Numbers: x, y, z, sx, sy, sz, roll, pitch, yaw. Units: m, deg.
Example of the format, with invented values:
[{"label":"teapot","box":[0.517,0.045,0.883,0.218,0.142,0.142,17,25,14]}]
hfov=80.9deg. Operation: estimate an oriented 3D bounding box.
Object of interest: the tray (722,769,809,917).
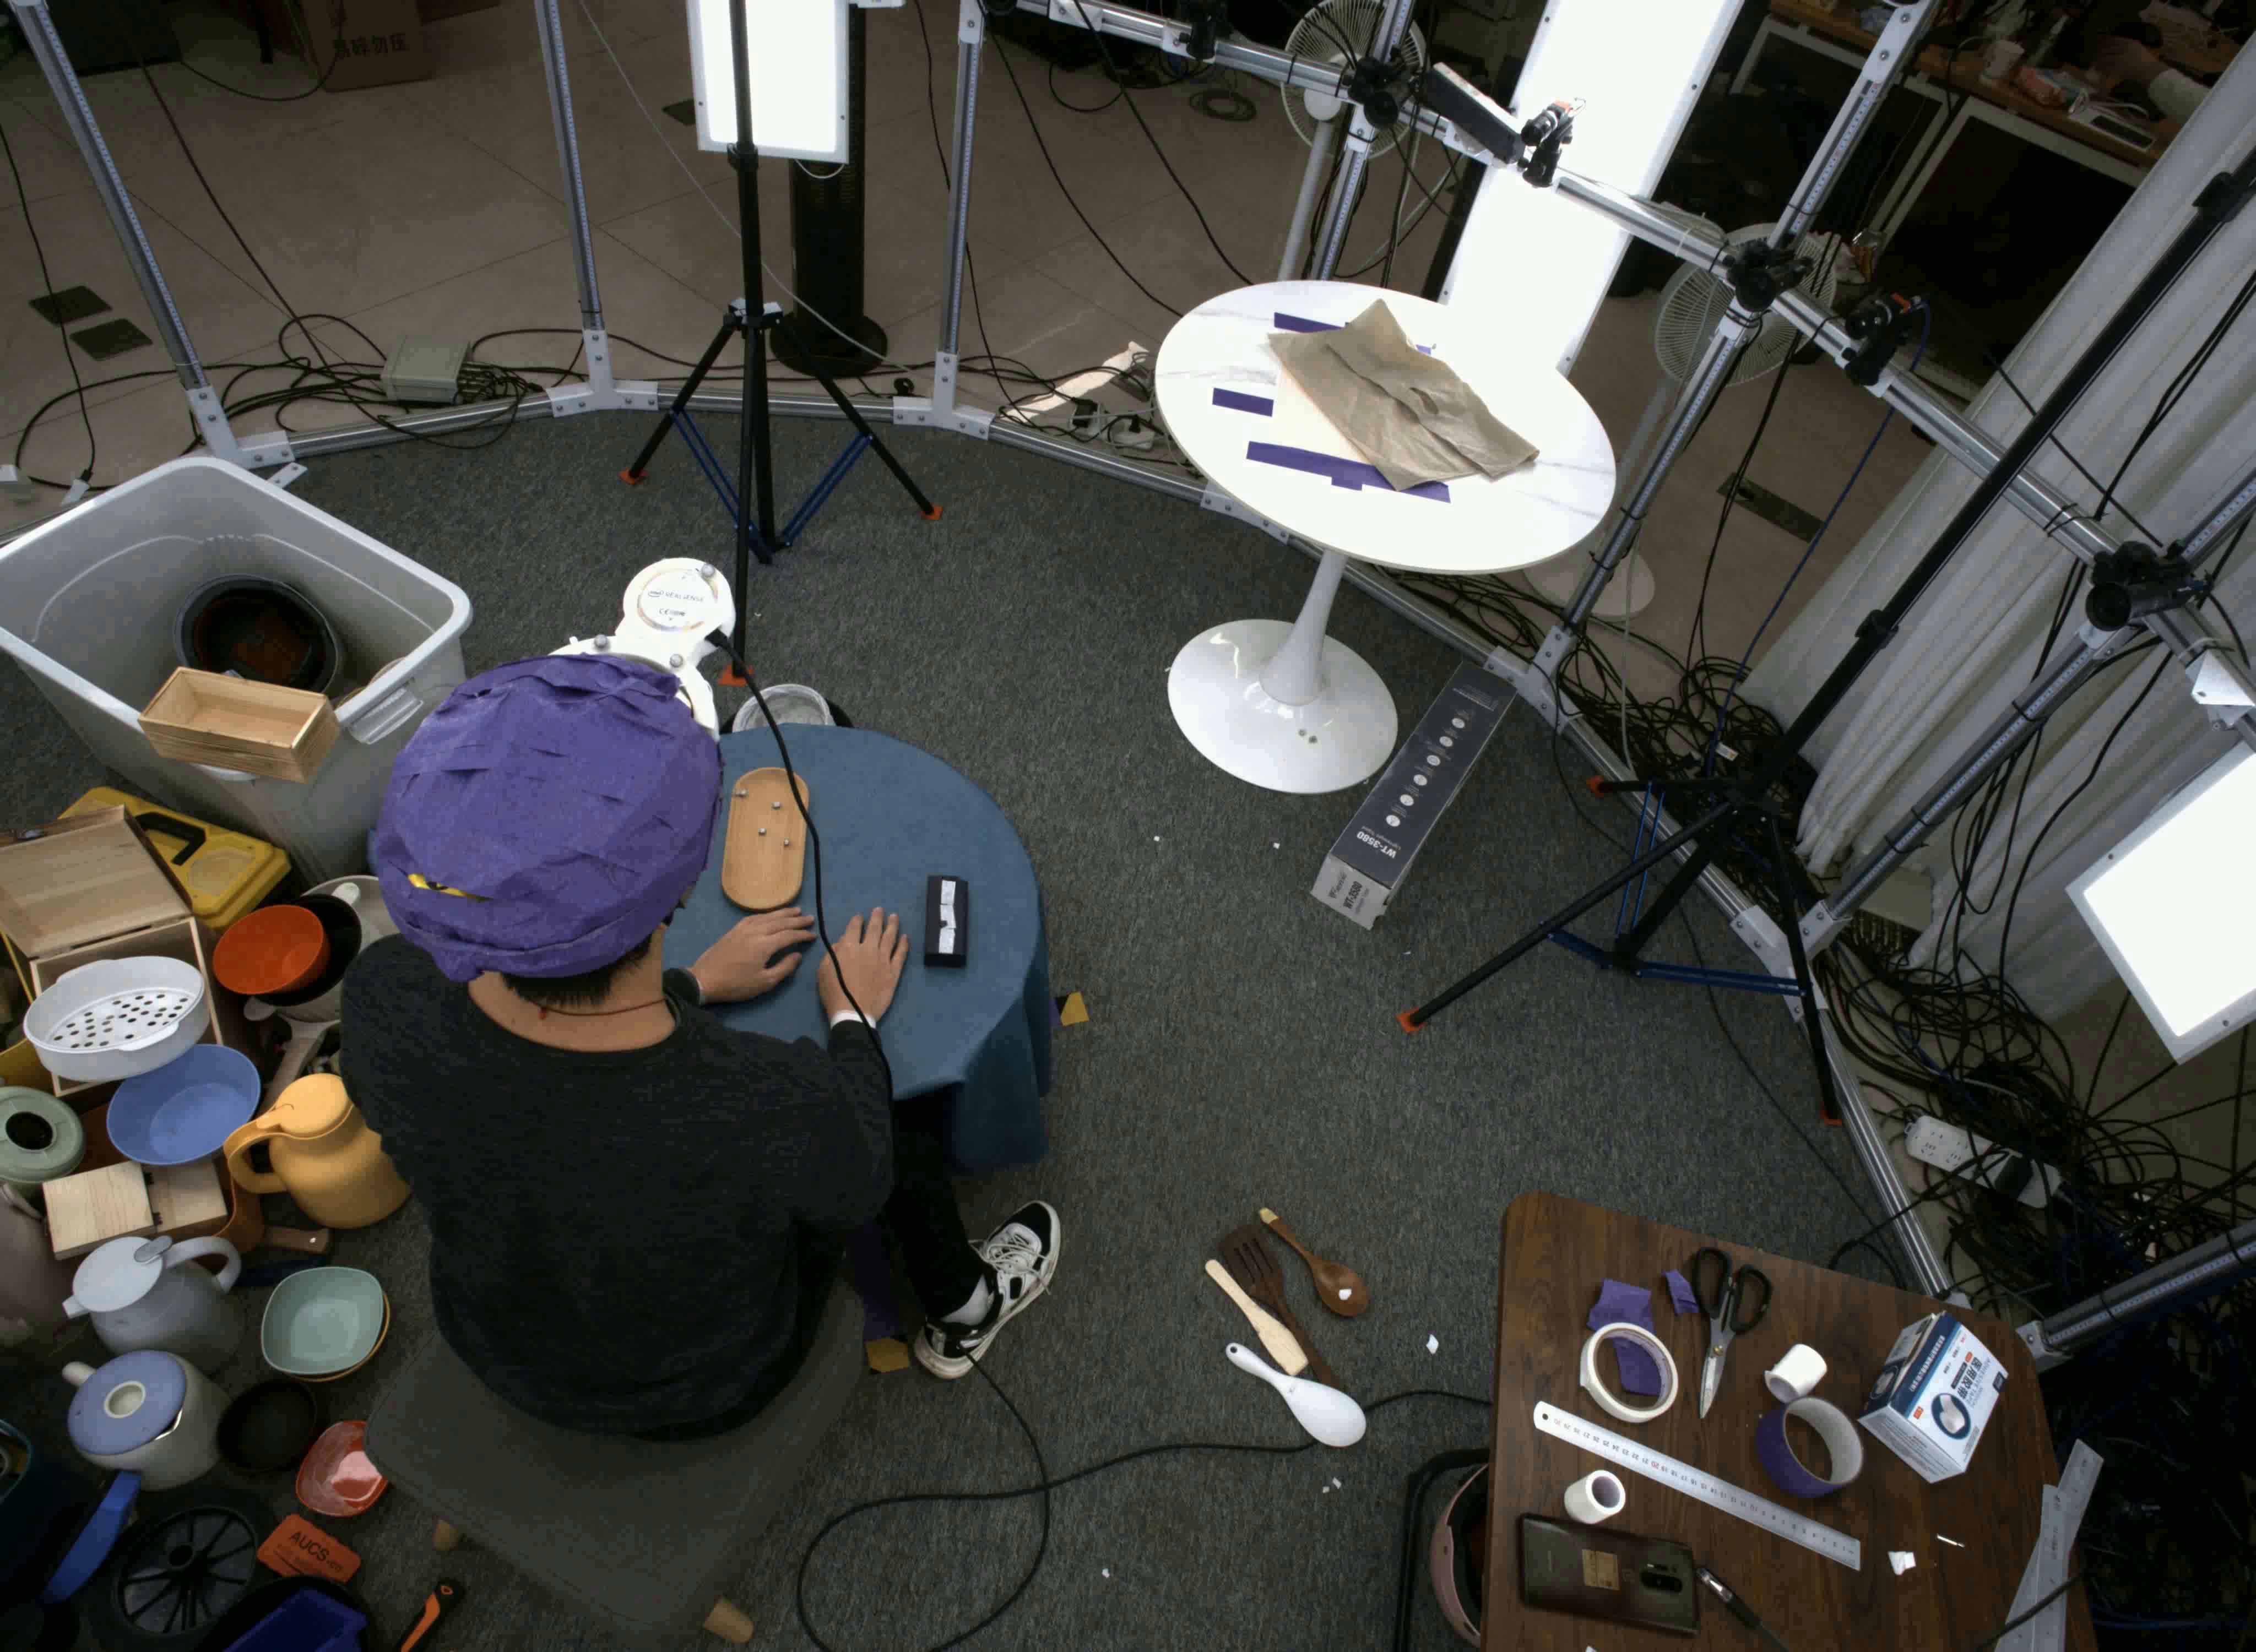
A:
[{"label":"tray","box":[-0.470,0.018,1.683,0.101,0.021,0.226,1,55,-12]}]

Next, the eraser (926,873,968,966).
[{"label":"eraser","box":[-0.231,0.117,1.664,0.053,0.031,0.123,2,55,-10]}]
